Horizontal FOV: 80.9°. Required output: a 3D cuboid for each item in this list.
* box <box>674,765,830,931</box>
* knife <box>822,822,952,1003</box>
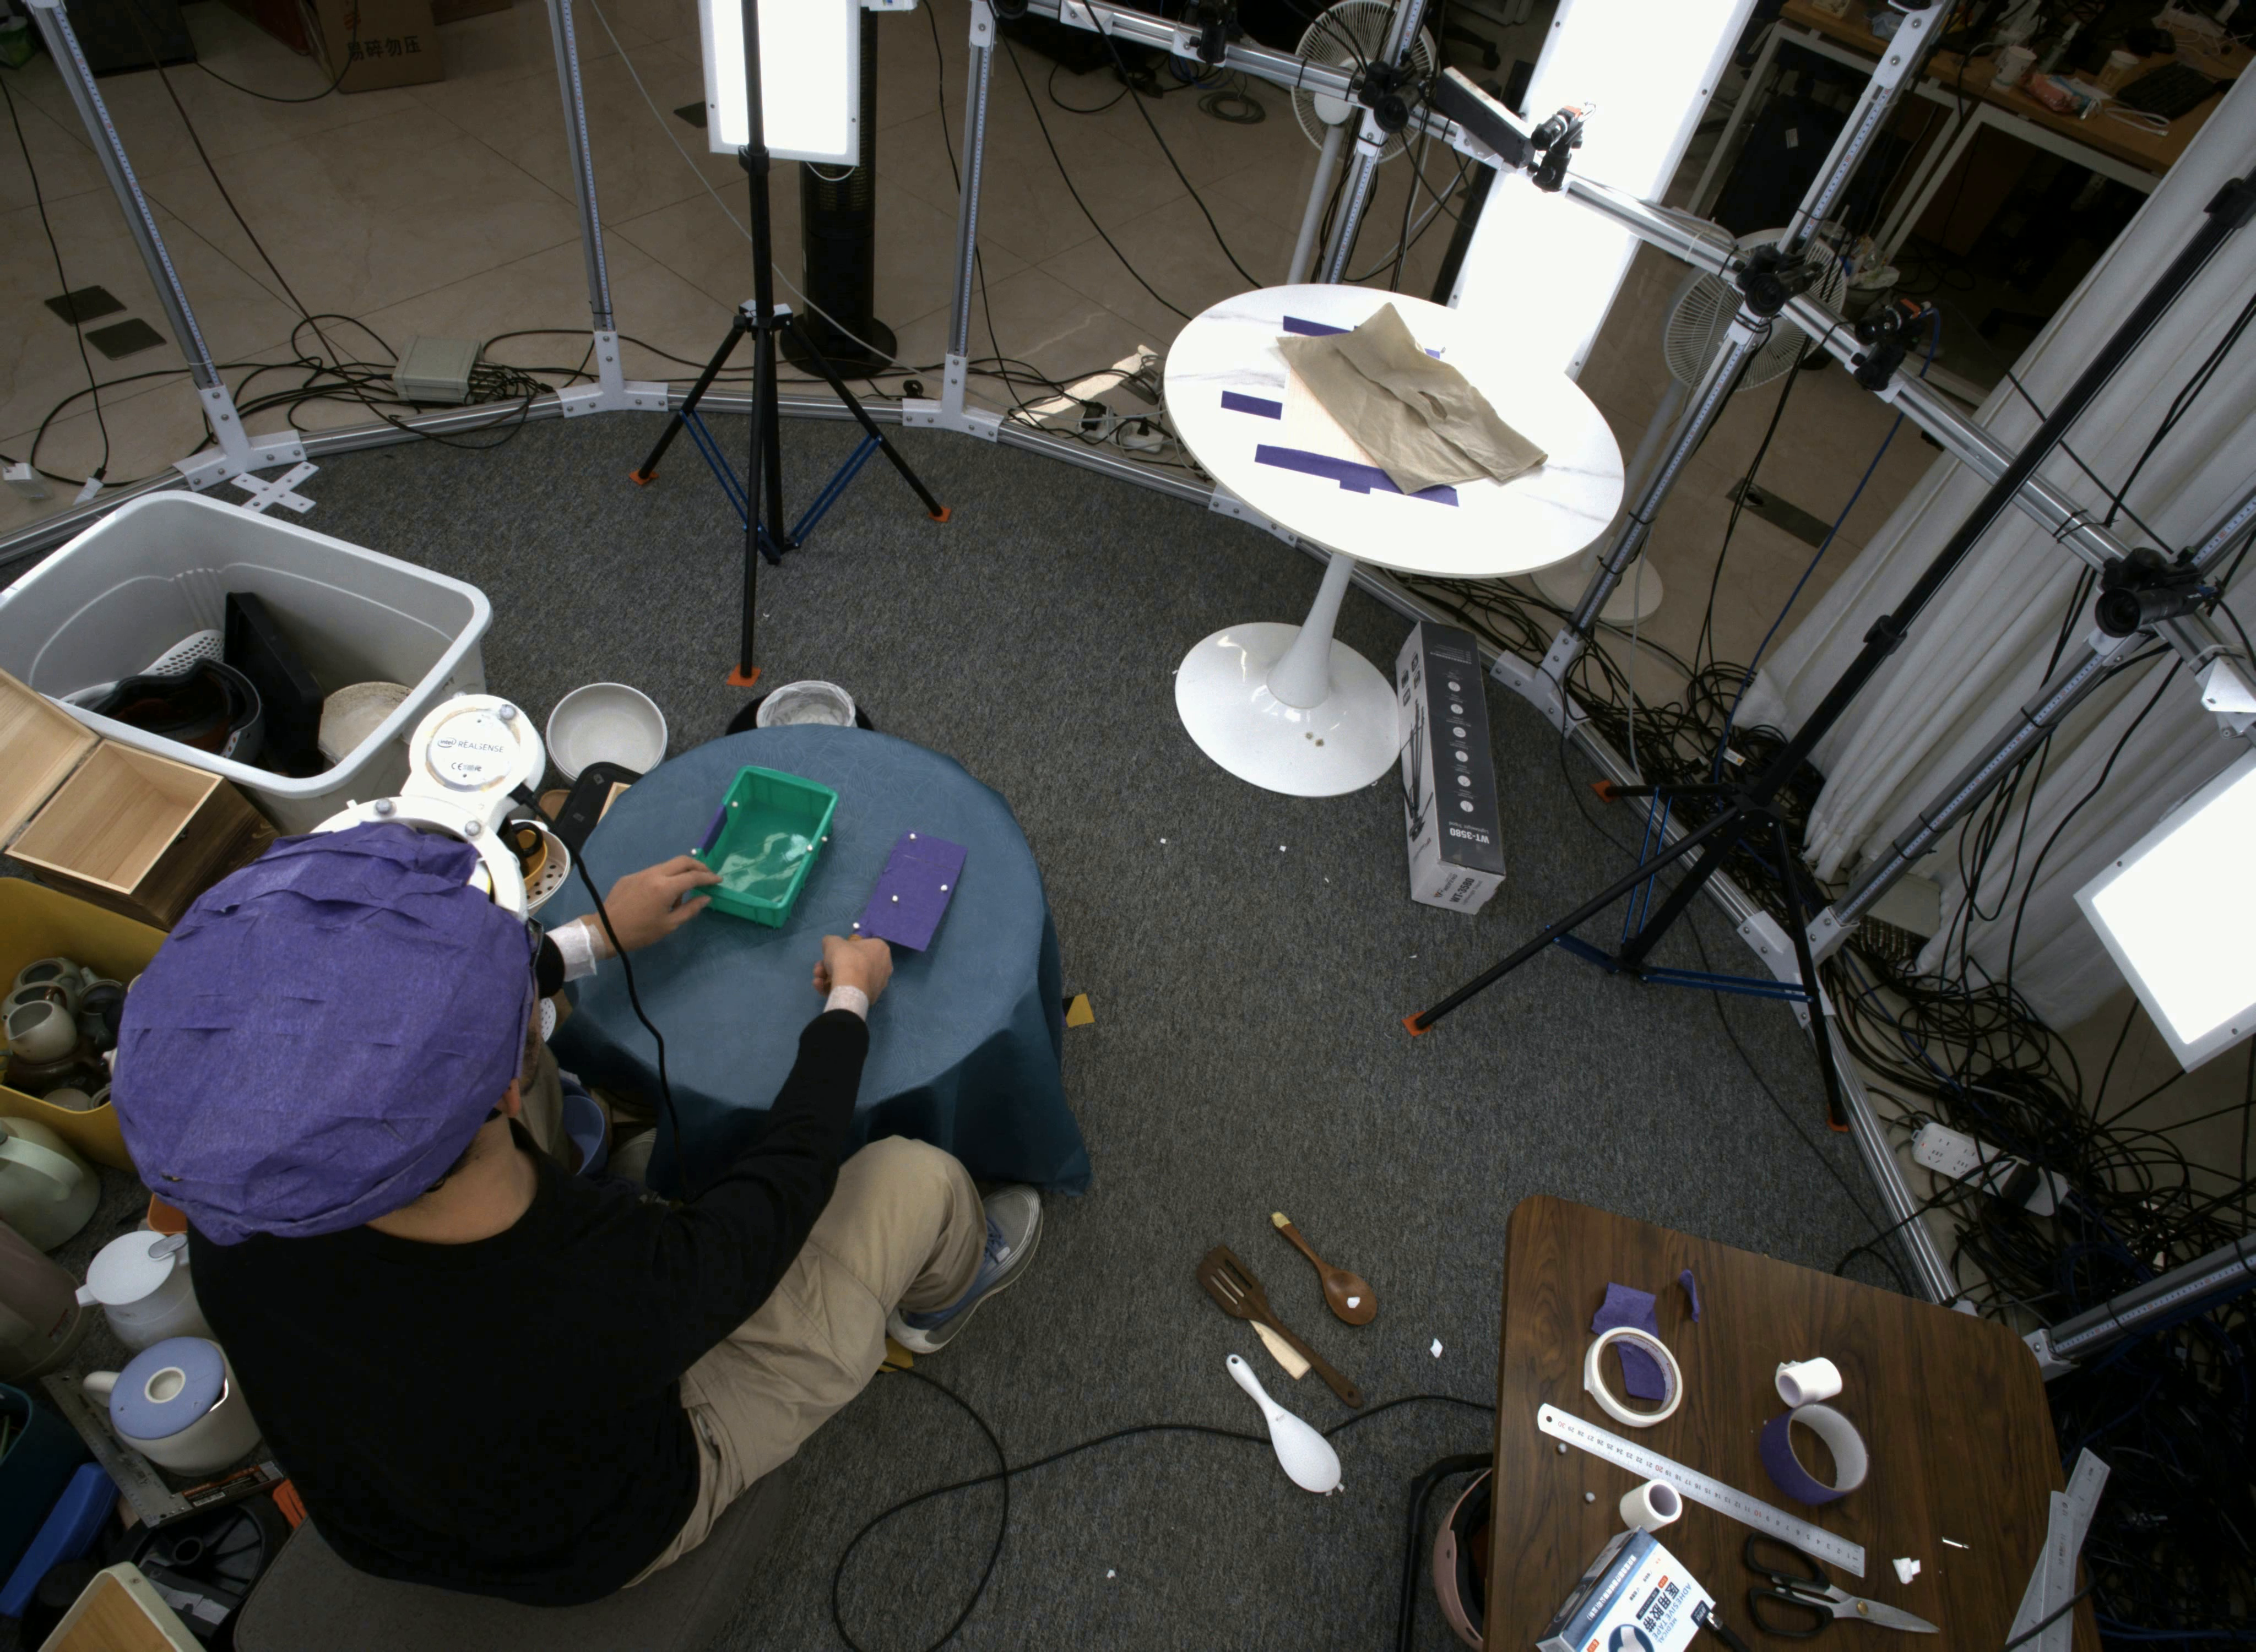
[{"bbox_3d":[-0.473,0.029,1.644,0.137,0.066,0.208,15,53,-1],"label":"box"},{"bbox_3d":[-0.292,0.103,1.628,0.103,0.033,0.310,17,42,-3],"label":"knife"}]
